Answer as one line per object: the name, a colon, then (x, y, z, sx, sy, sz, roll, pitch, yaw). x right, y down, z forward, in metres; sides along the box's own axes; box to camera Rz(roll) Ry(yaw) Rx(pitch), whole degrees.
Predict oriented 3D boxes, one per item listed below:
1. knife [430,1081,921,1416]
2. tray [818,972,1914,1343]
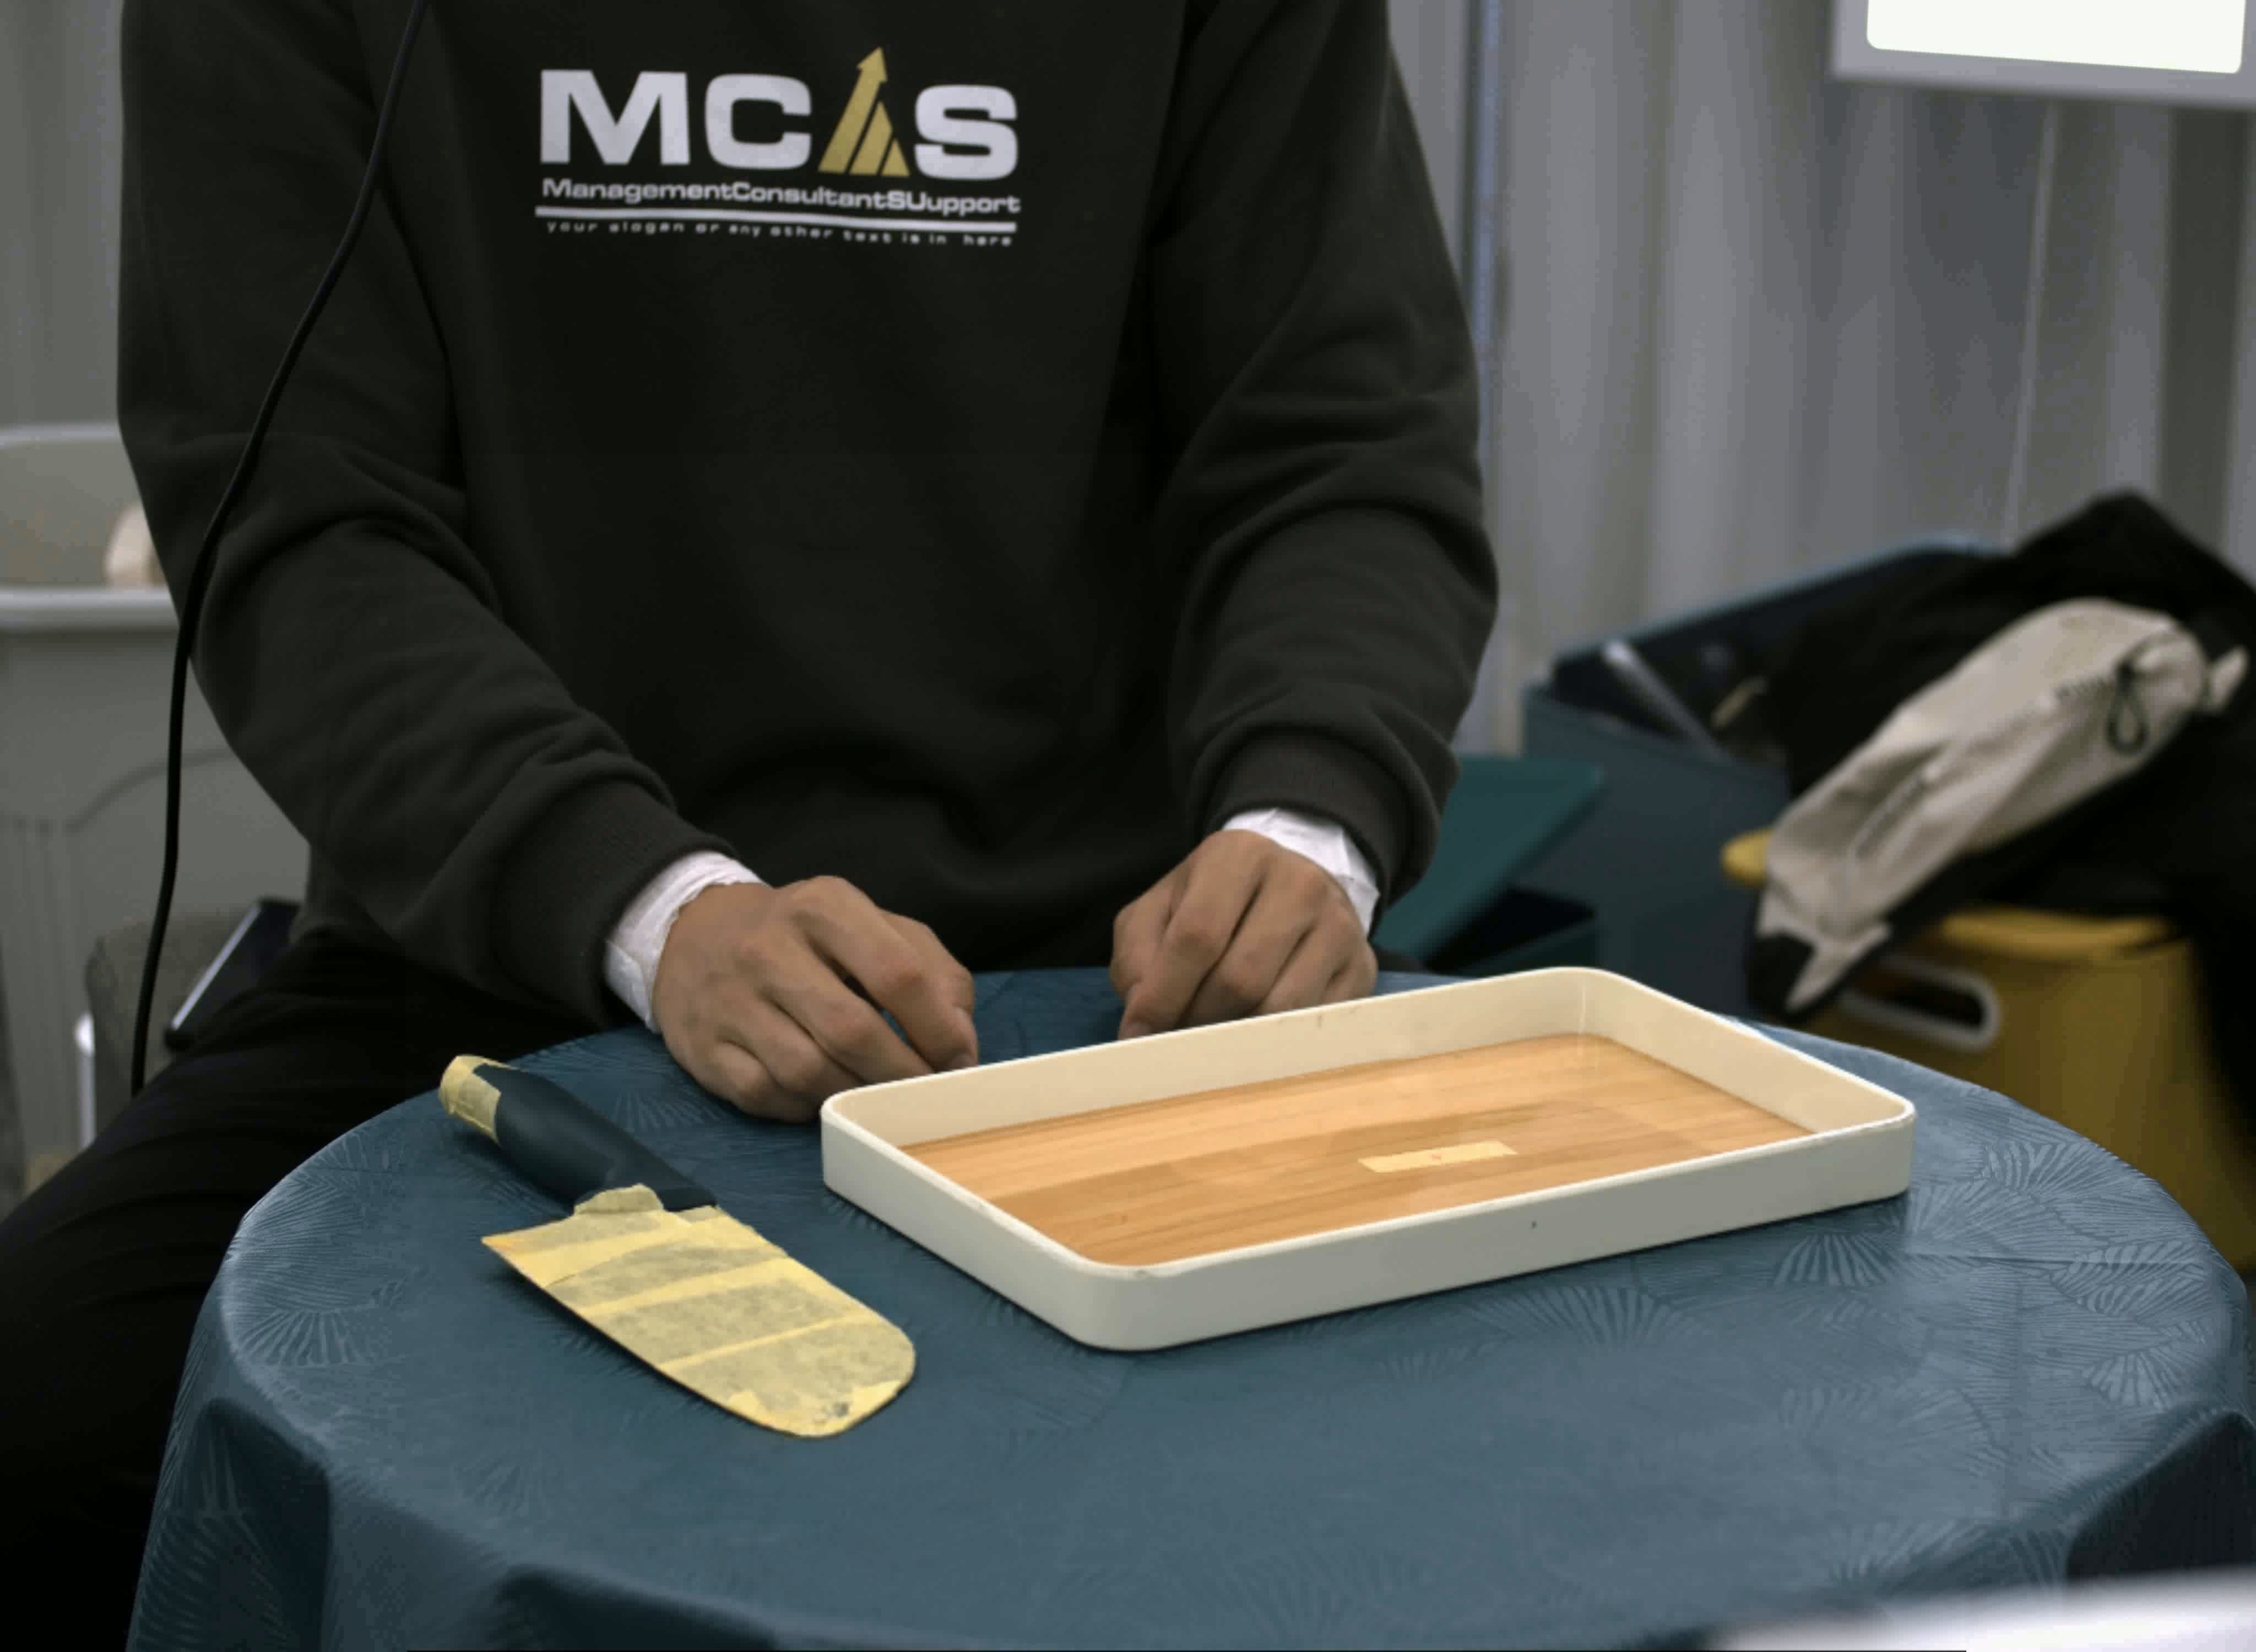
knife: (-0.147, 0.124, 1.548, 0.081, 0.027, 0.286, -7, 18, -31)
tray: (0.074, 0.098, 1.629, 0.301, 0.027, 0.189, -8, 16, -30)
